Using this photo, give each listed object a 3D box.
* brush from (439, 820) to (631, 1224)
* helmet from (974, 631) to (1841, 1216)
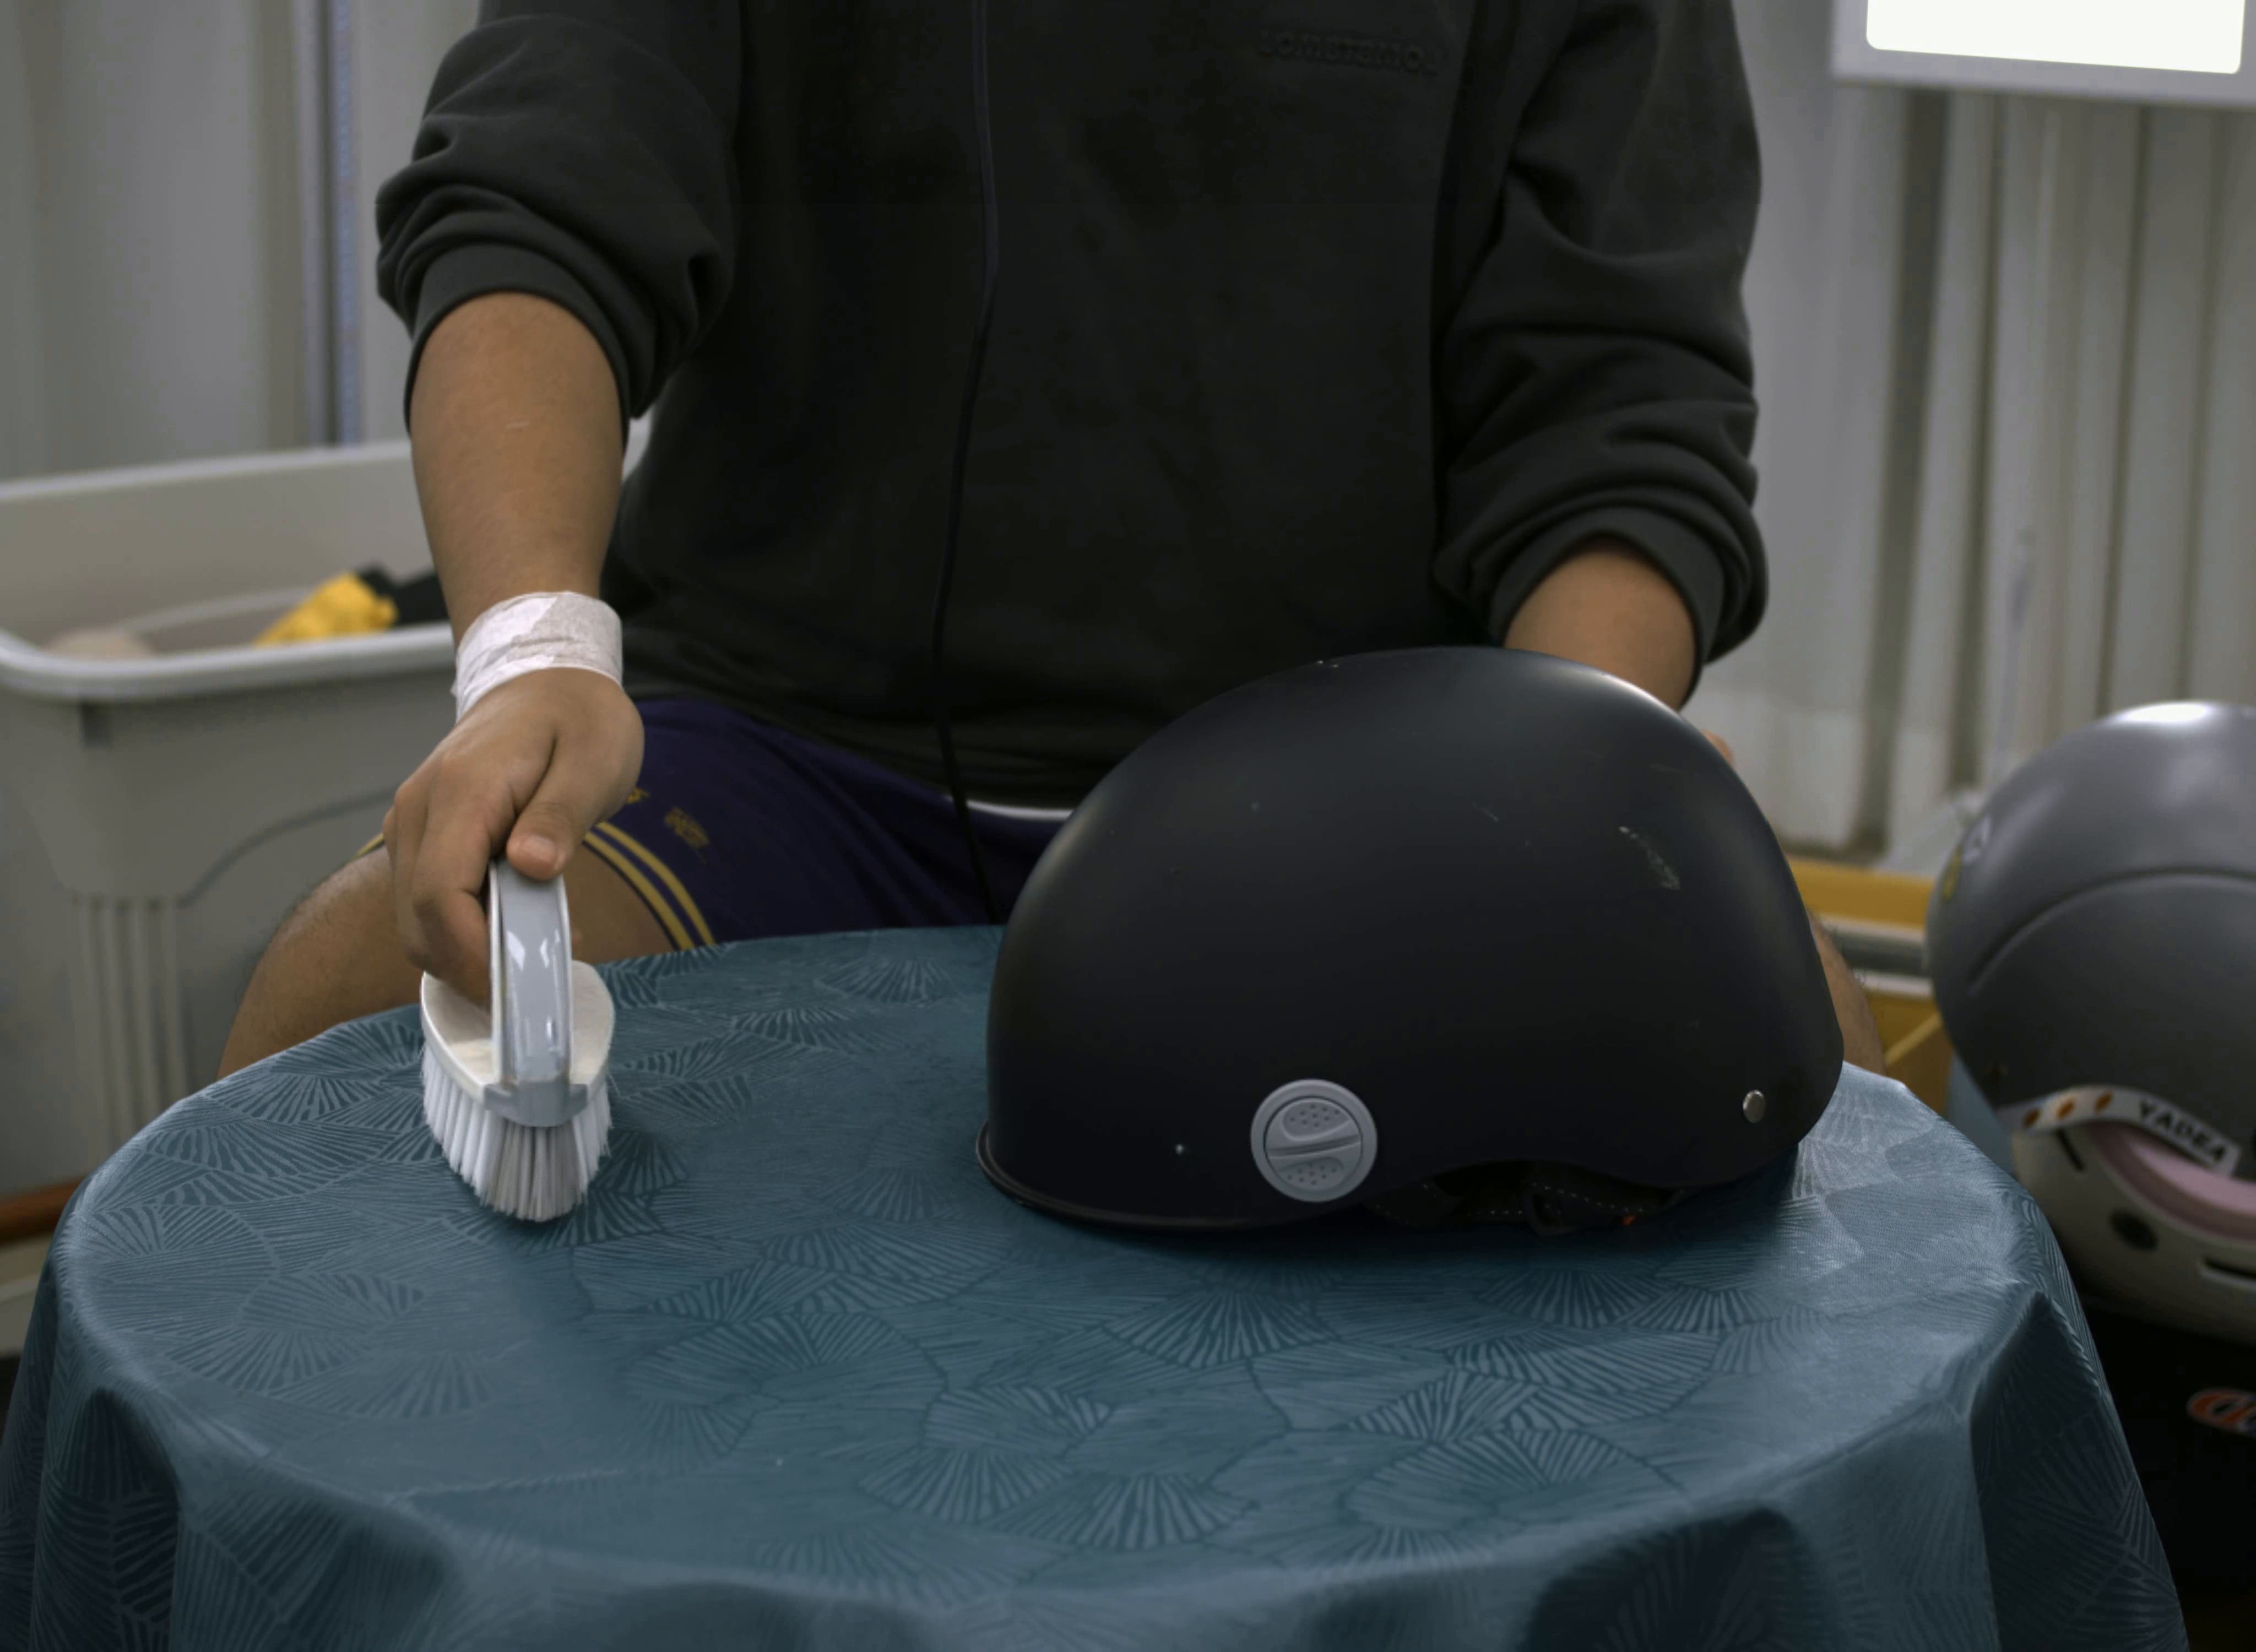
[{"bbox_3d":[-0.186,0.055,1.648,0.061,0.095,0.174,0,18,-7],"label":"brush"},{"bbox_3d":[0.085,0.025,1.641,0.272,0.168,0.228,-2,16,-2],"label":"helmet"}]
